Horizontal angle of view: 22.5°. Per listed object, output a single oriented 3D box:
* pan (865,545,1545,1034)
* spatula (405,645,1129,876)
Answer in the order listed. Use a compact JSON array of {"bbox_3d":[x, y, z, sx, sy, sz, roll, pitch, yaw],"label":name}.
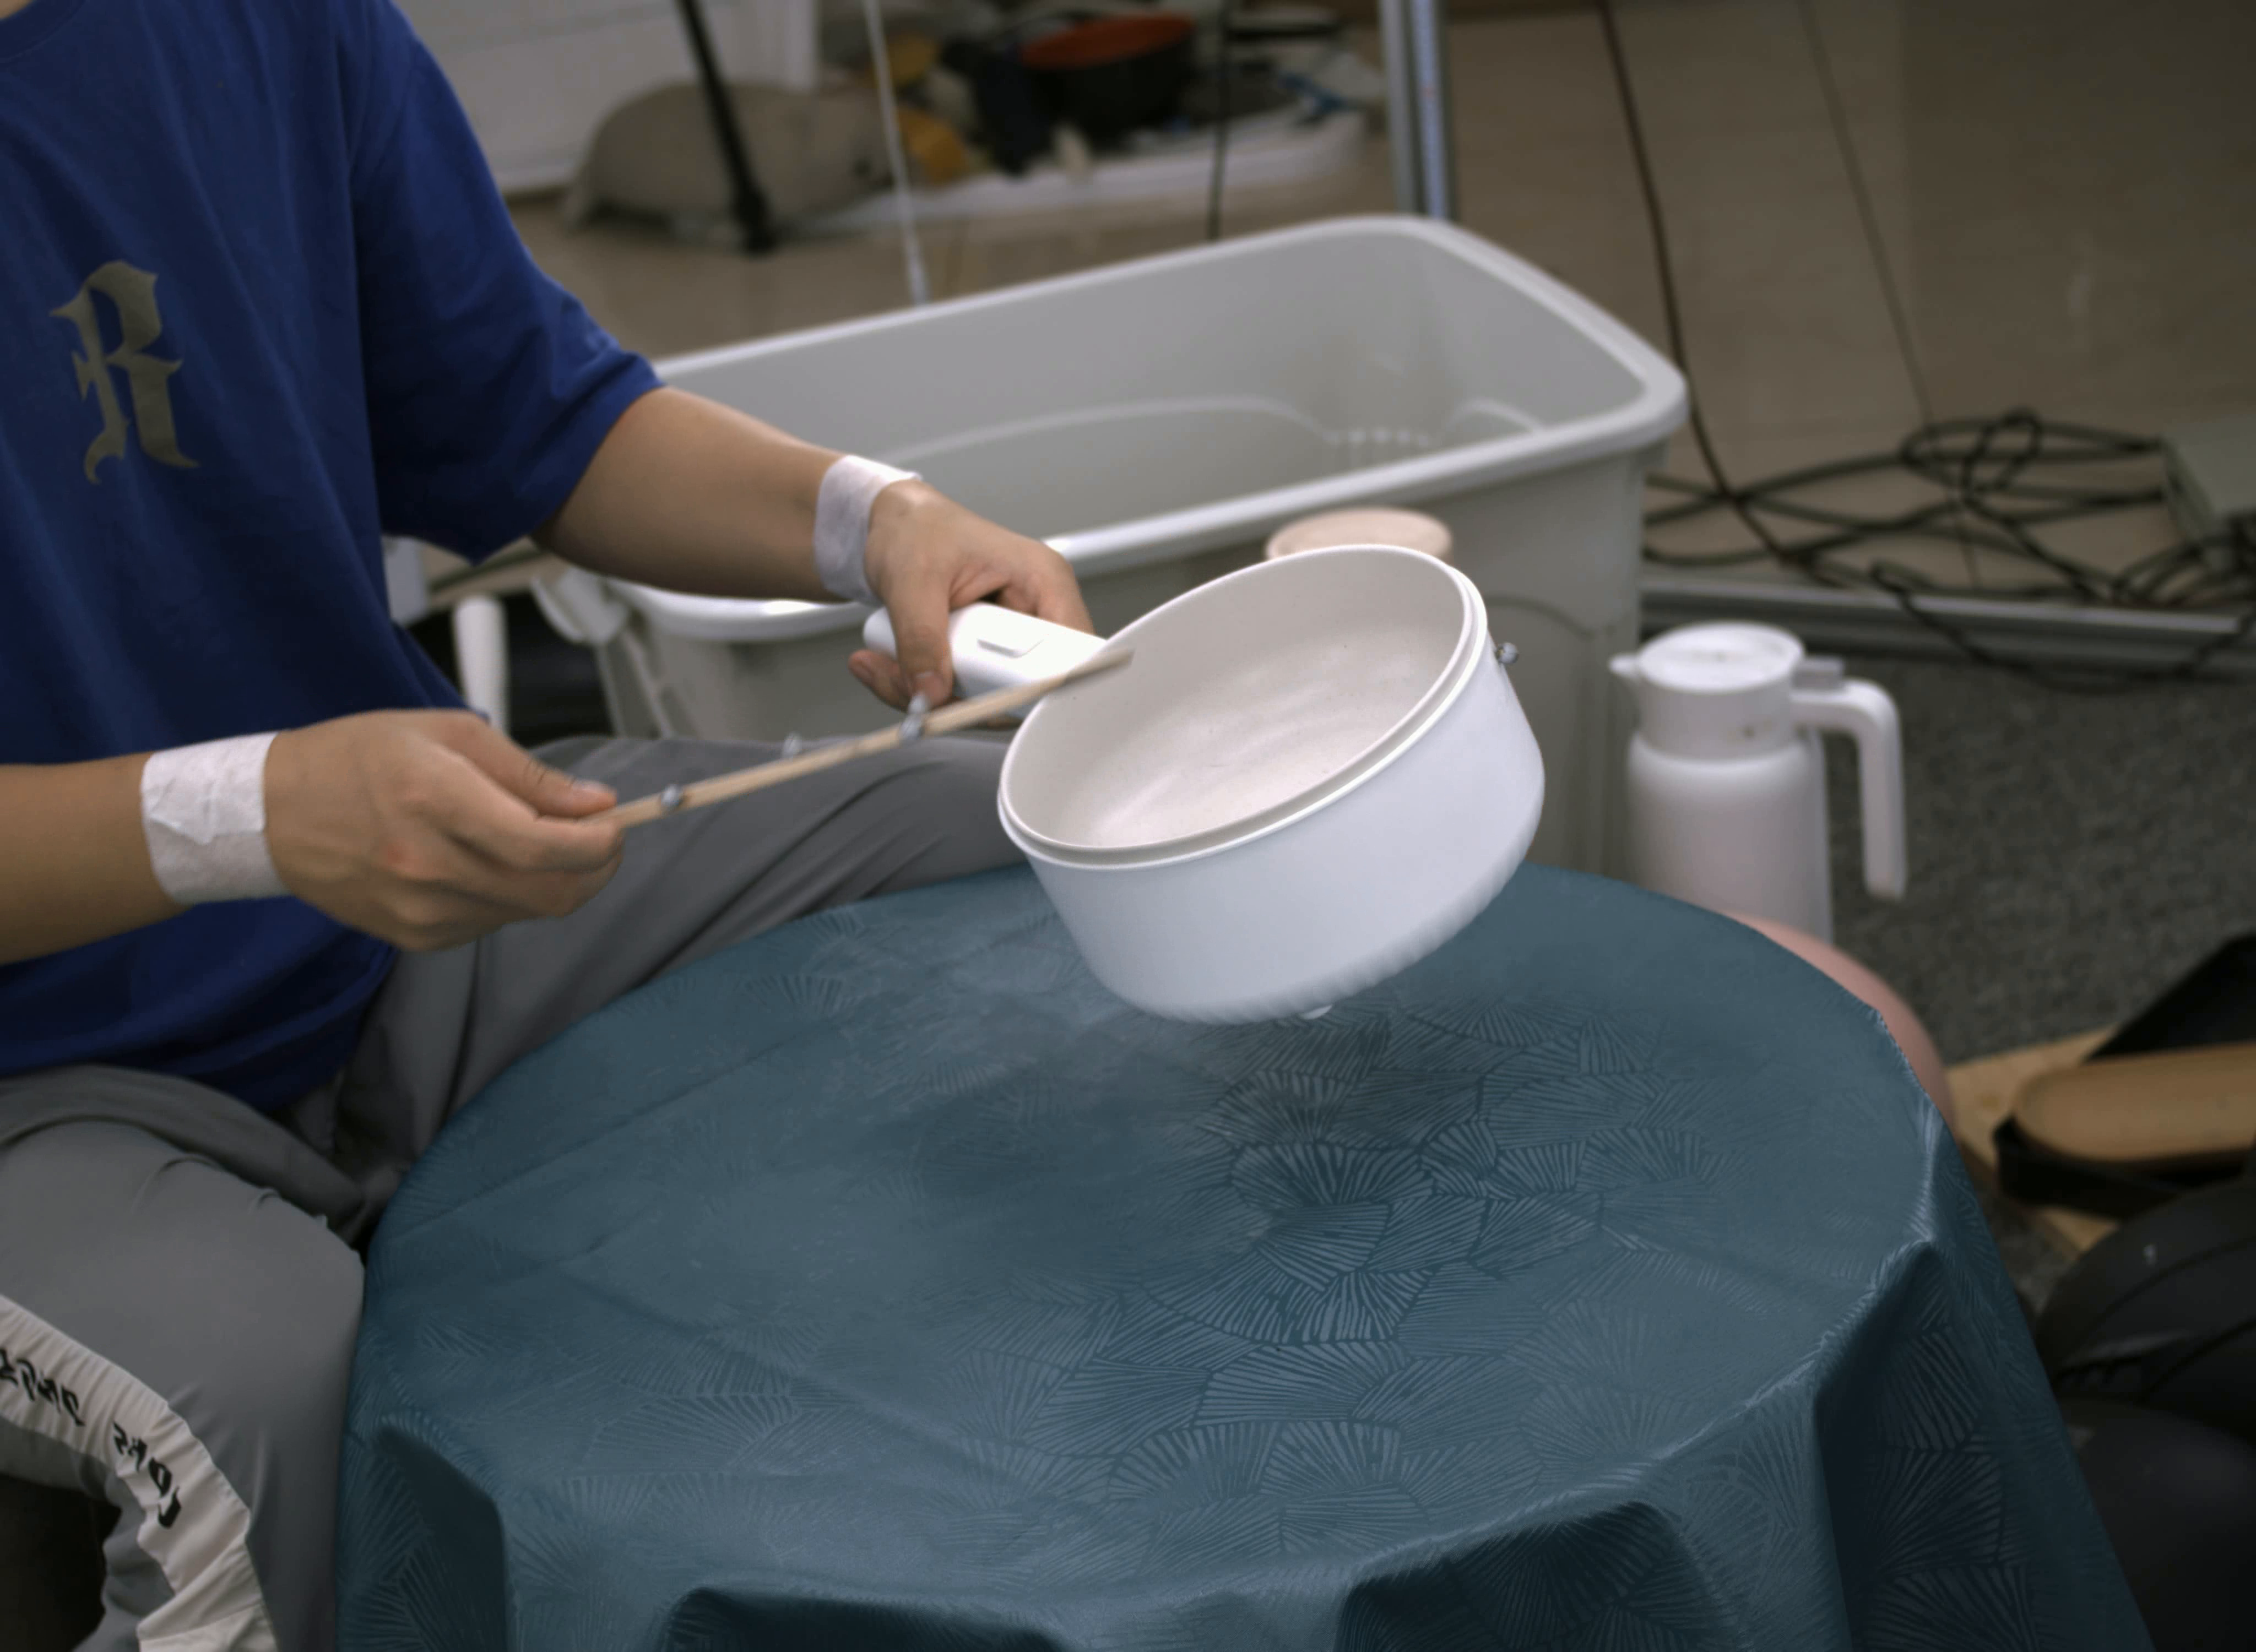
[{"bbox_3d":[0.017,-0.024,2.231,0.199,0.103,0.352,-41,31,-20],"label":"pan"},{"bbox_3d":[-0.139,-0.021,2.066,0.293,0.011,0.072,-16,4,23],"label":"spatula"}]
